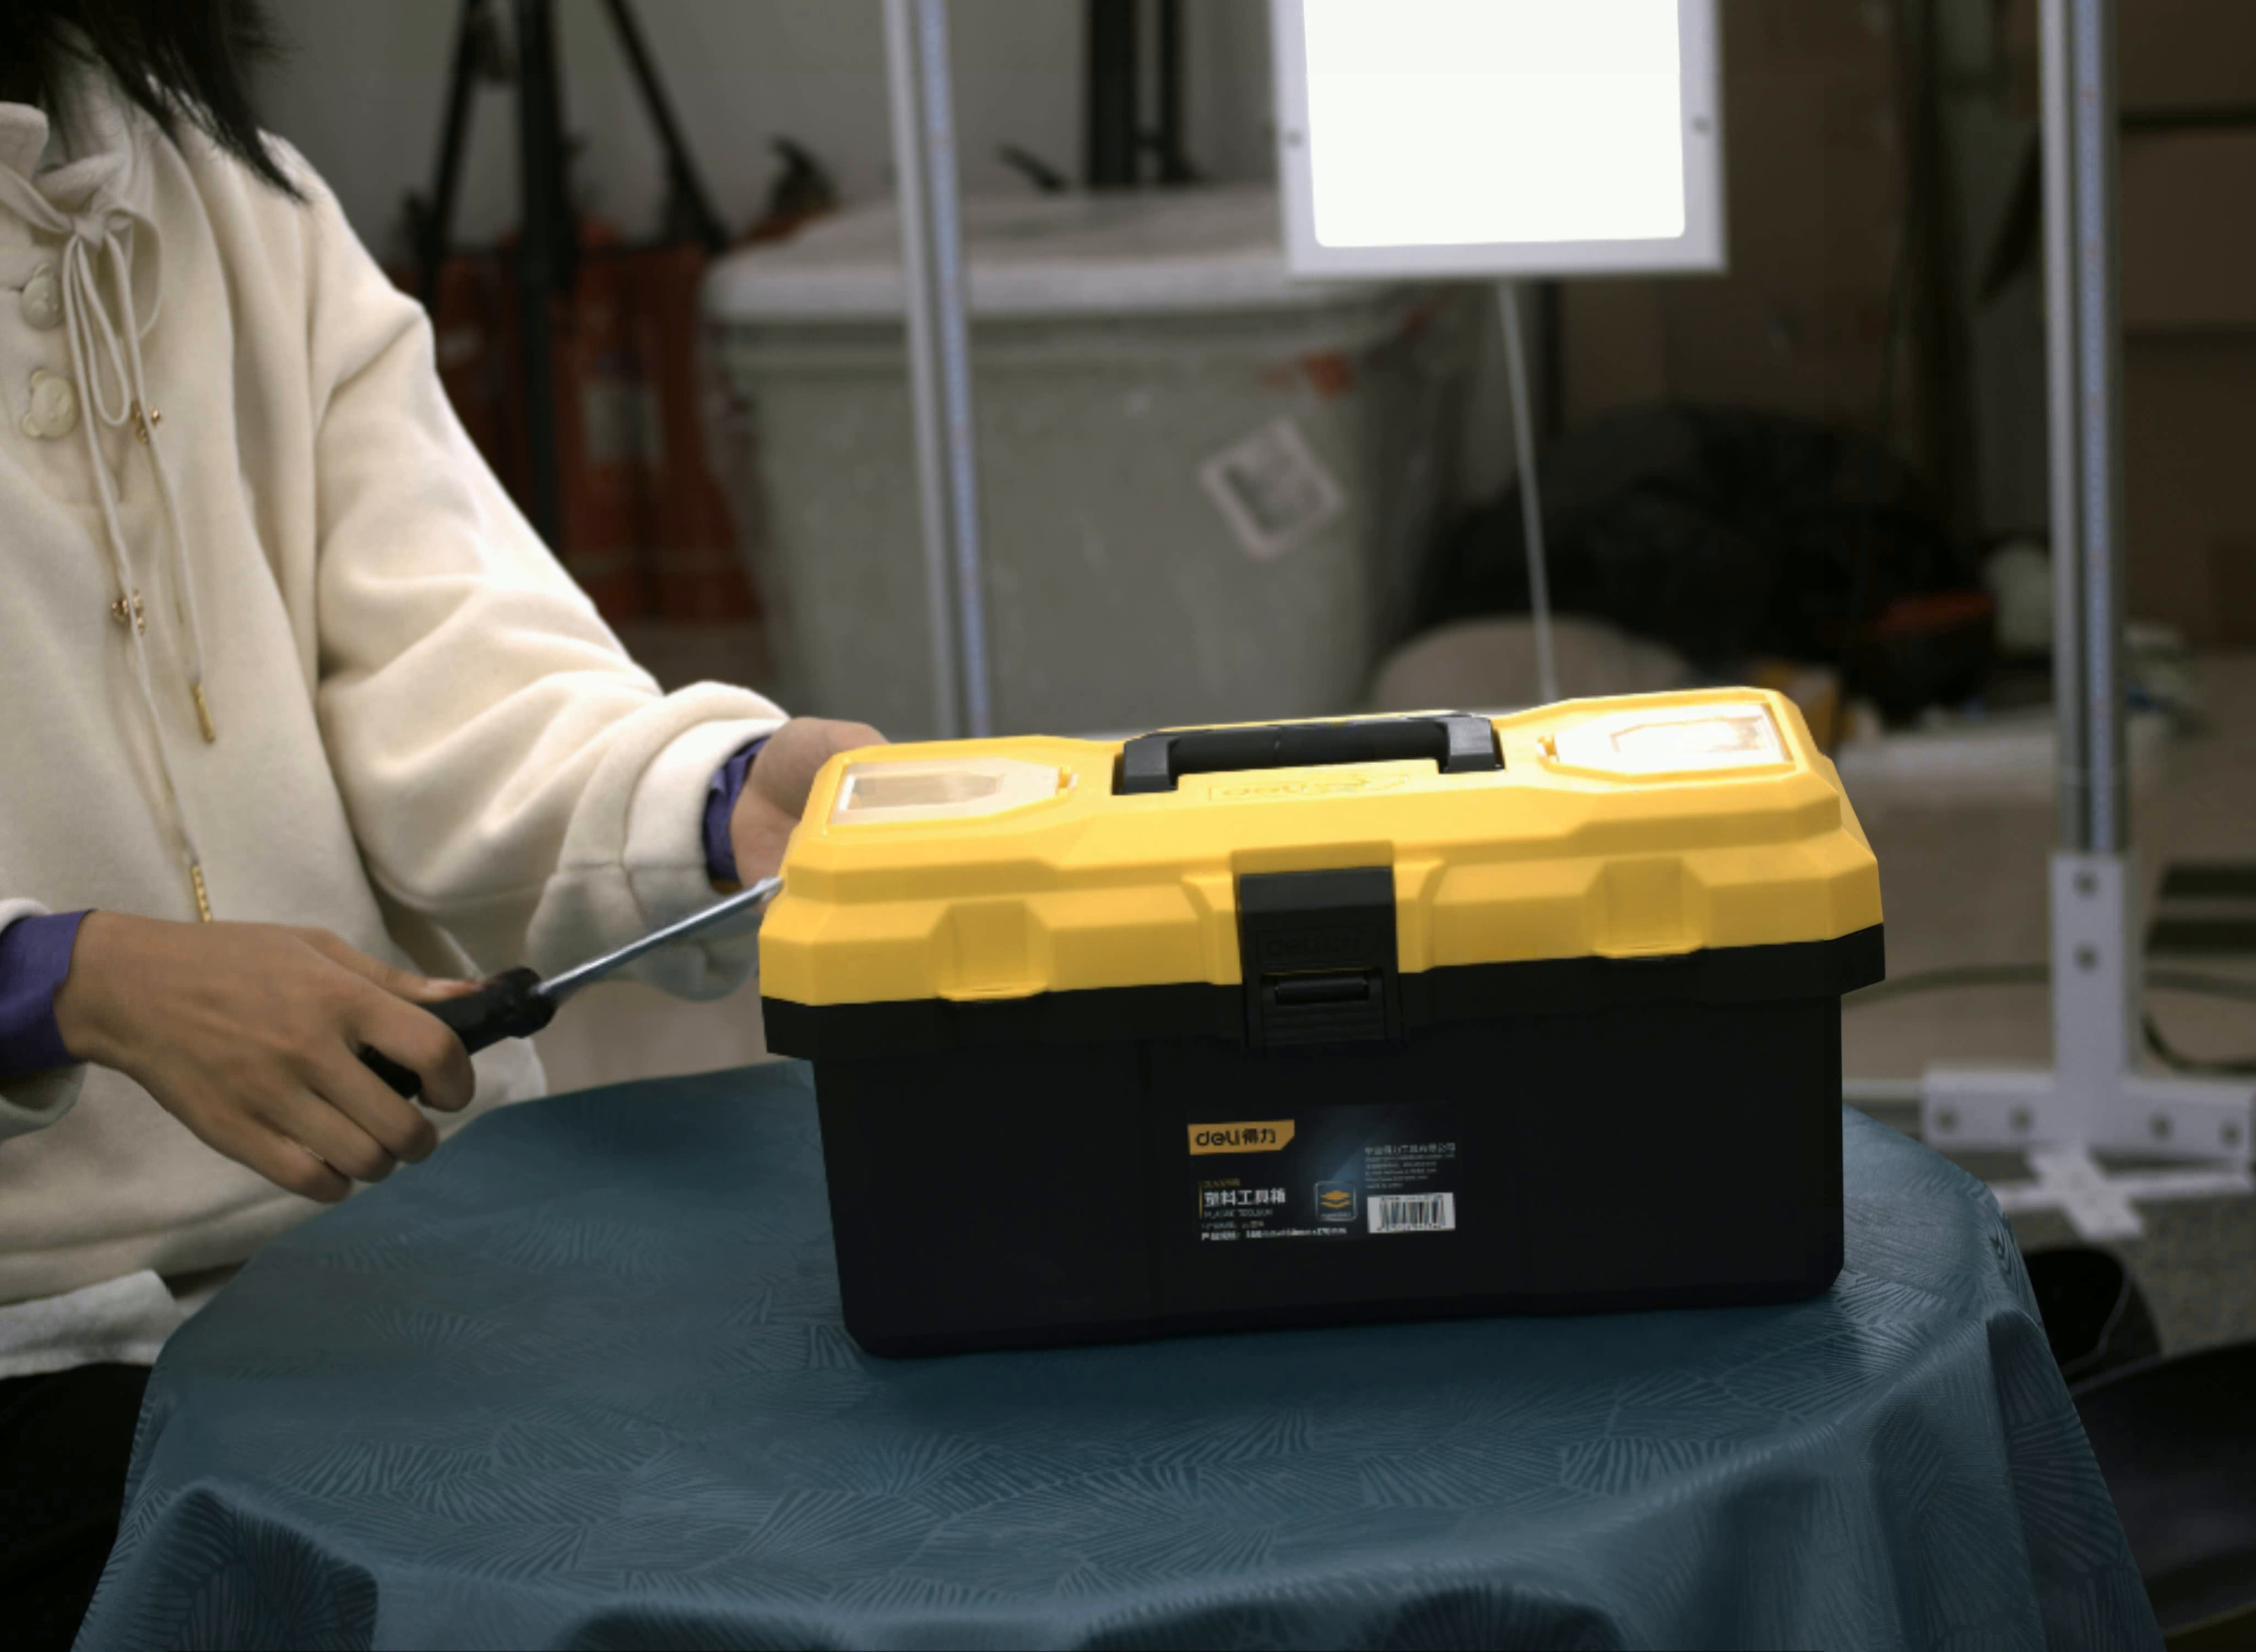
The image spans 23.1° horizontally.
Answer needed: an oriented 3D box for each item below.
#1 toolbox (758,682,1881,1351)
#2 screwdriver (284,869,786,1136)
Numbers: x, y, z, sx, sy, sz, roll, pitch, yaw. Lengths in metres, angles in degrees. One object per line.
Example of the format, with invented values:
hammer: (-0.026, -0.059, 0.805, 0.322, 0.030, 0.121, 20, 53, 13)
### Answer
toolbox: (0.063, 0.061, 1.776, 0.352, 0.173, 0.180, -4, 14, 5)
screwdriver: (-0.193, 0.055, 1.784, 0.199, 0.031, 0.031, -26, 4, 25)
